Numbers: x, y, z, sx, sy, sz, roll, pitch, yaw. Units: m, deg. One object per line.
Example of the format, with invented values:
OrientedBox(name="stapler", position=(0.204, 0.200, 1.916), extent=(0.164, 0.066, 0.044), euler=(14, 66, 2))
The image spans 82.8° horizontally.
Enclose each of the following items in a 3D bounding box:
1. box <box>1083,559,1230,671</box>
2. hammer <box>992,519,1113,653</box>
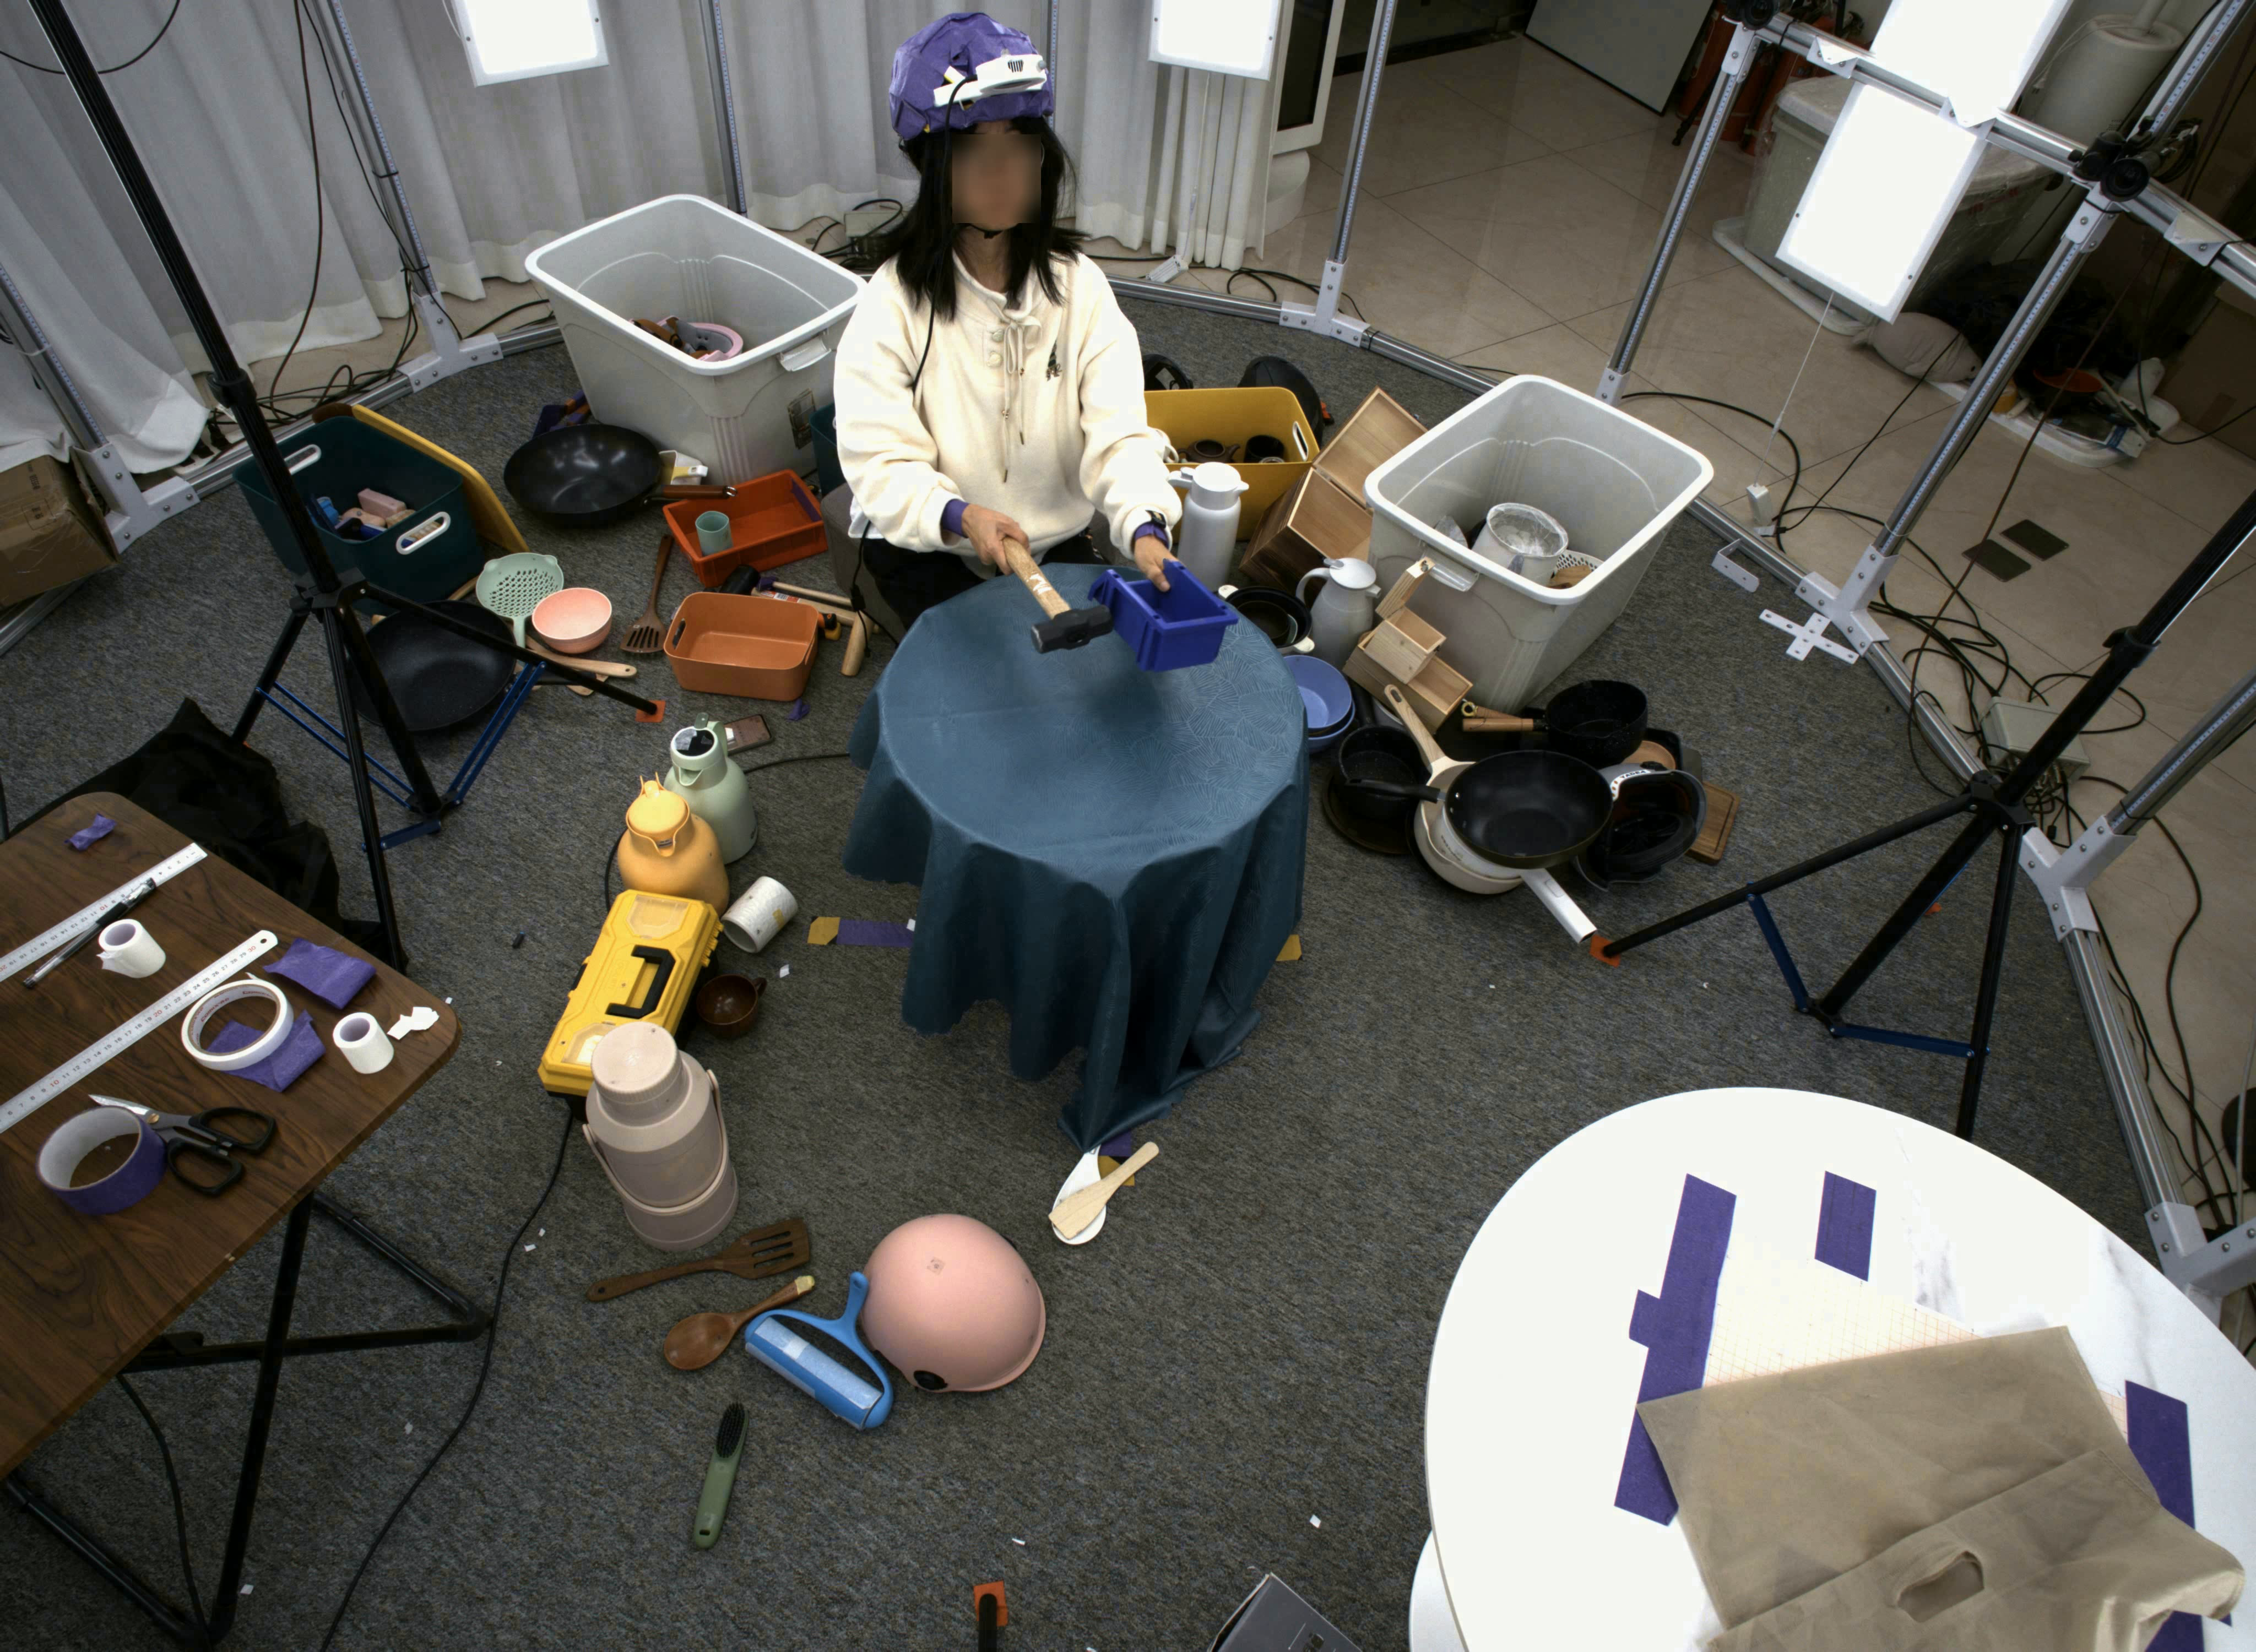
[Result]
OrientedBox(name="box", position=(0.033, -0.293, 1.745), extent=(0.124, 0.080, 0.183), euler=(-11, 48, -29))
OrientedBox(name="hammer", position=(-0.126, -0.342, 1.780), extent=(0.107, 0.037, 0.312), euler=(-17, 44, -15))
